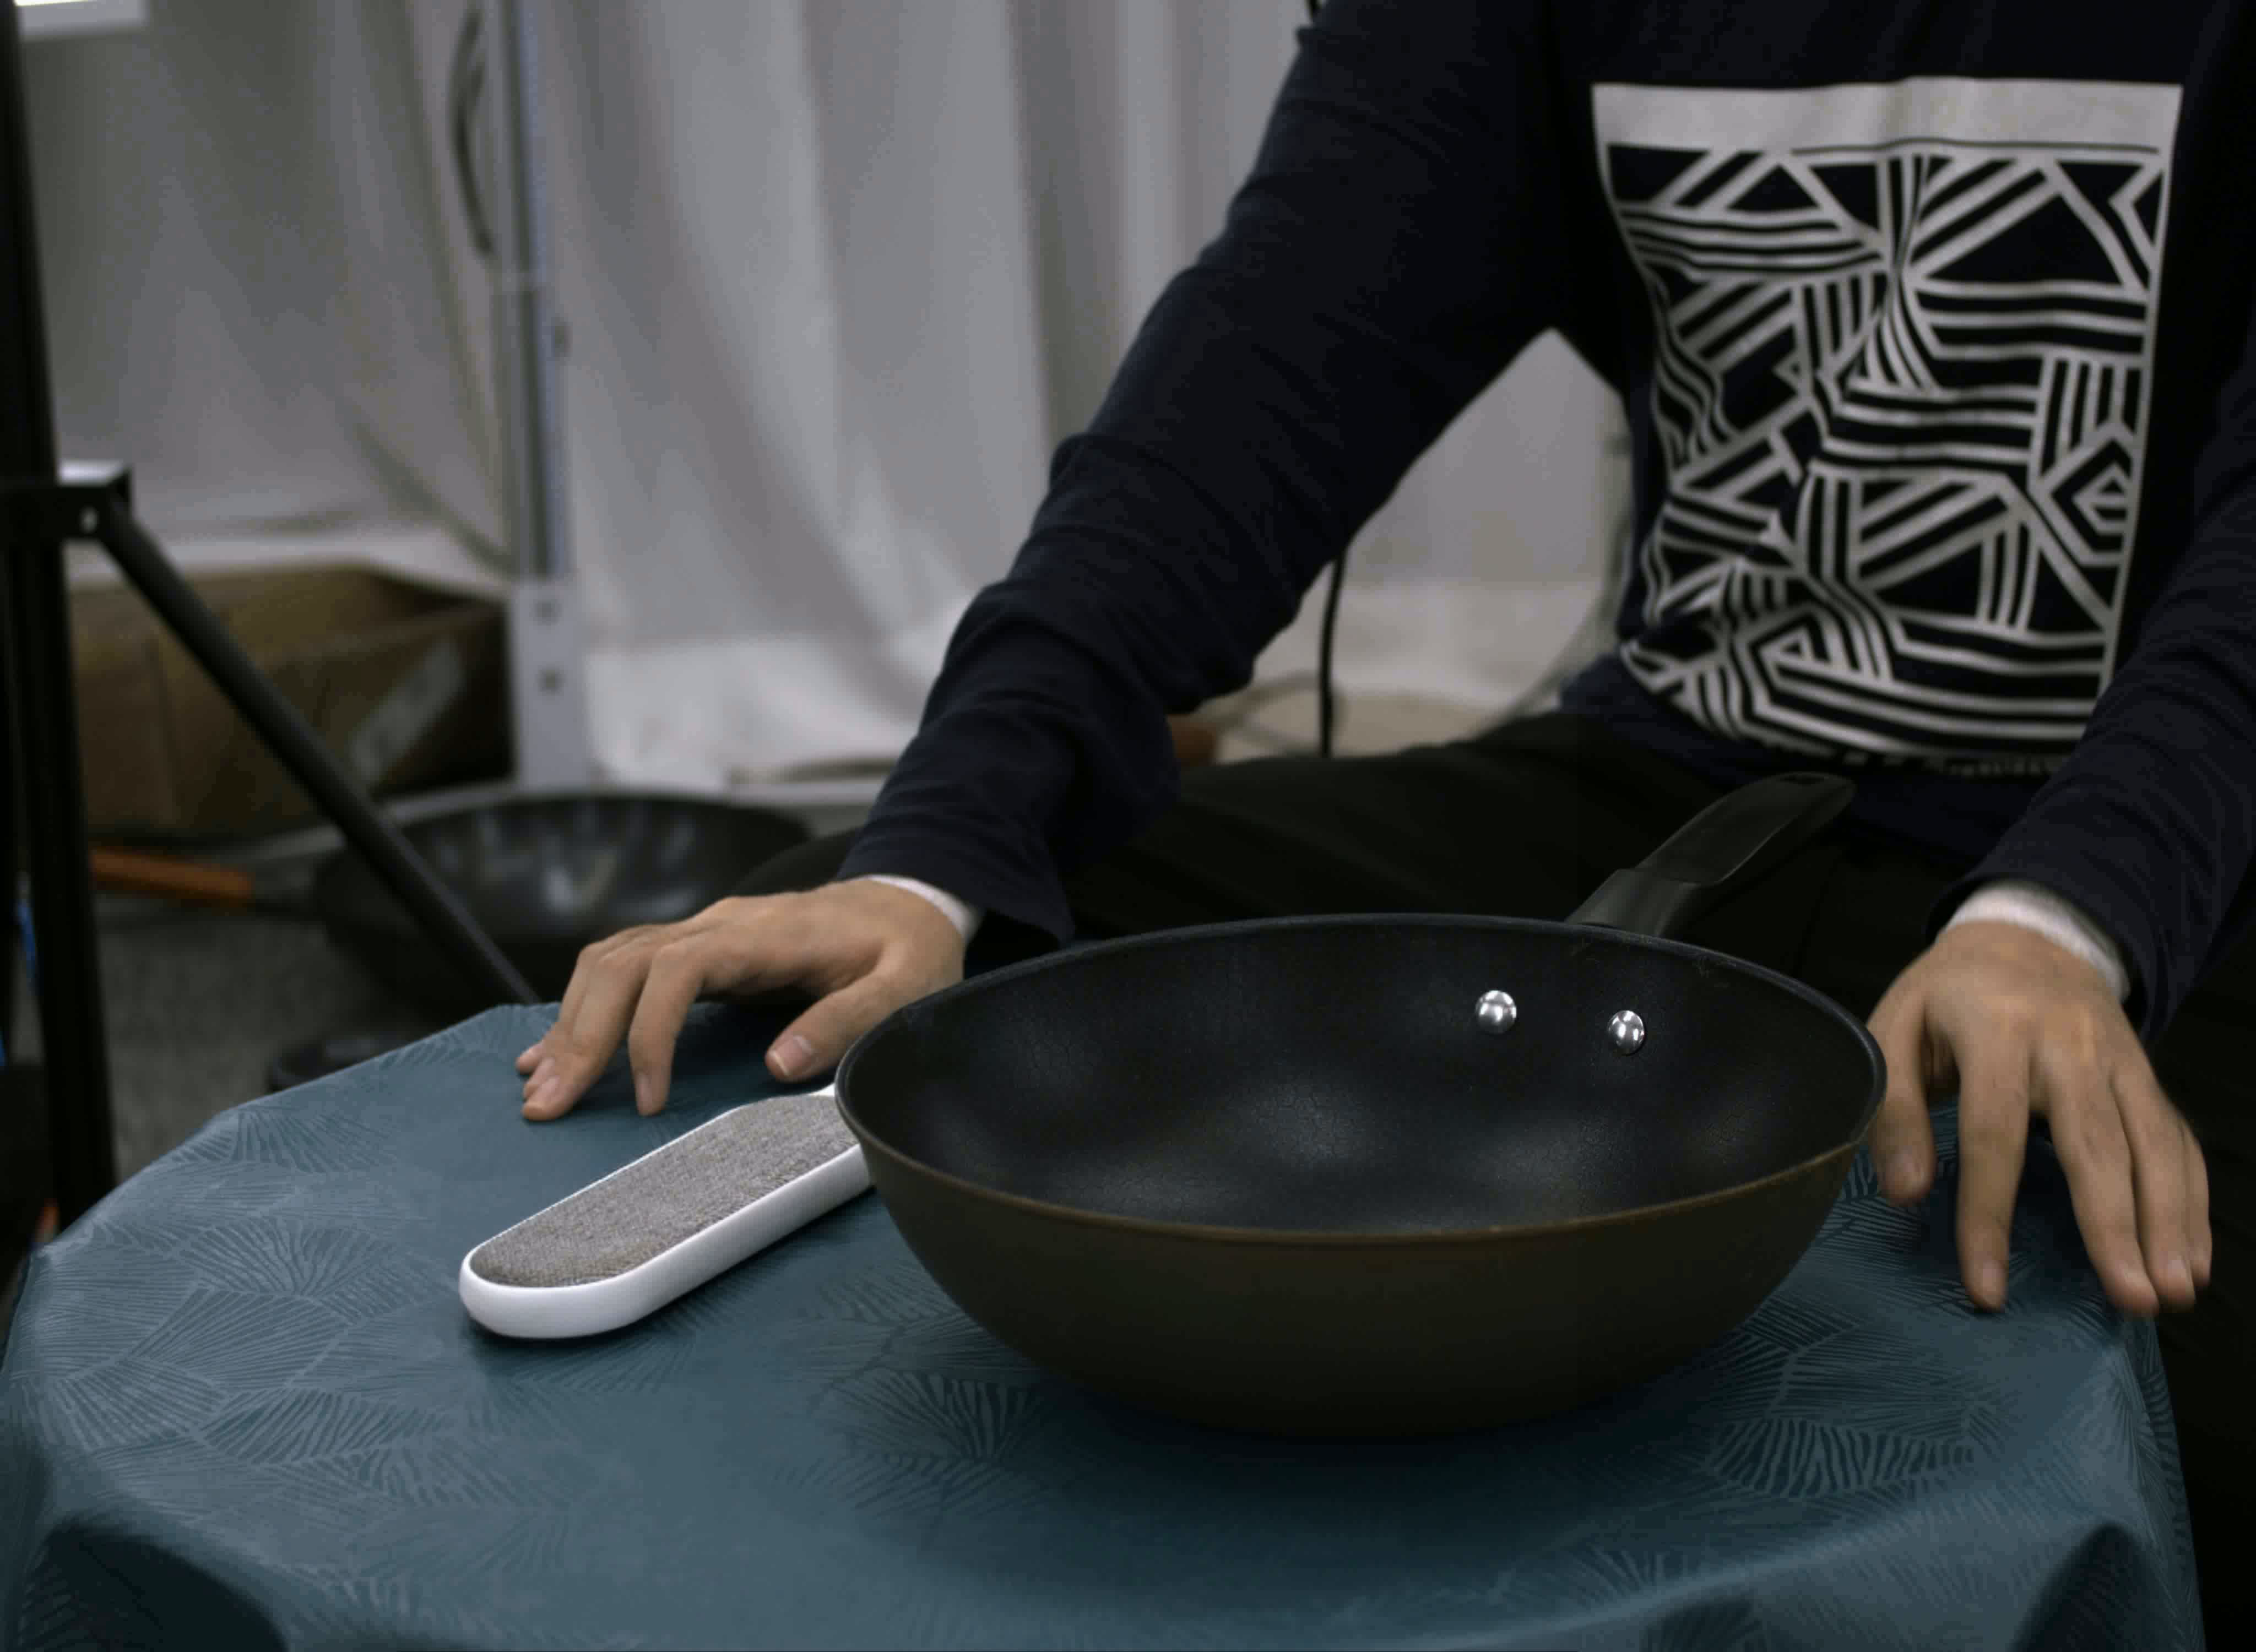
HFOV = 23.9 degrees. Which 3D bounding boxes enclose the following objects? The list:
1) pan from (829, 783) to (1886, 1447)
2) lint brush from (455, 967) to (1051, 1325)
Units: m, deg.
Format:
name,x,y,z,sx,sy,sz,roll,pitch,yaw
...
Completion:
name,x,y,z,sx,sy,sz,roll,pitch,yaw
pan,0.107,0.078,1.500,0.293,0.087,0.455,8,18,30
lint brush,-0.096,0.092,1.582,0.061,0.021,0.303,1,15,31
